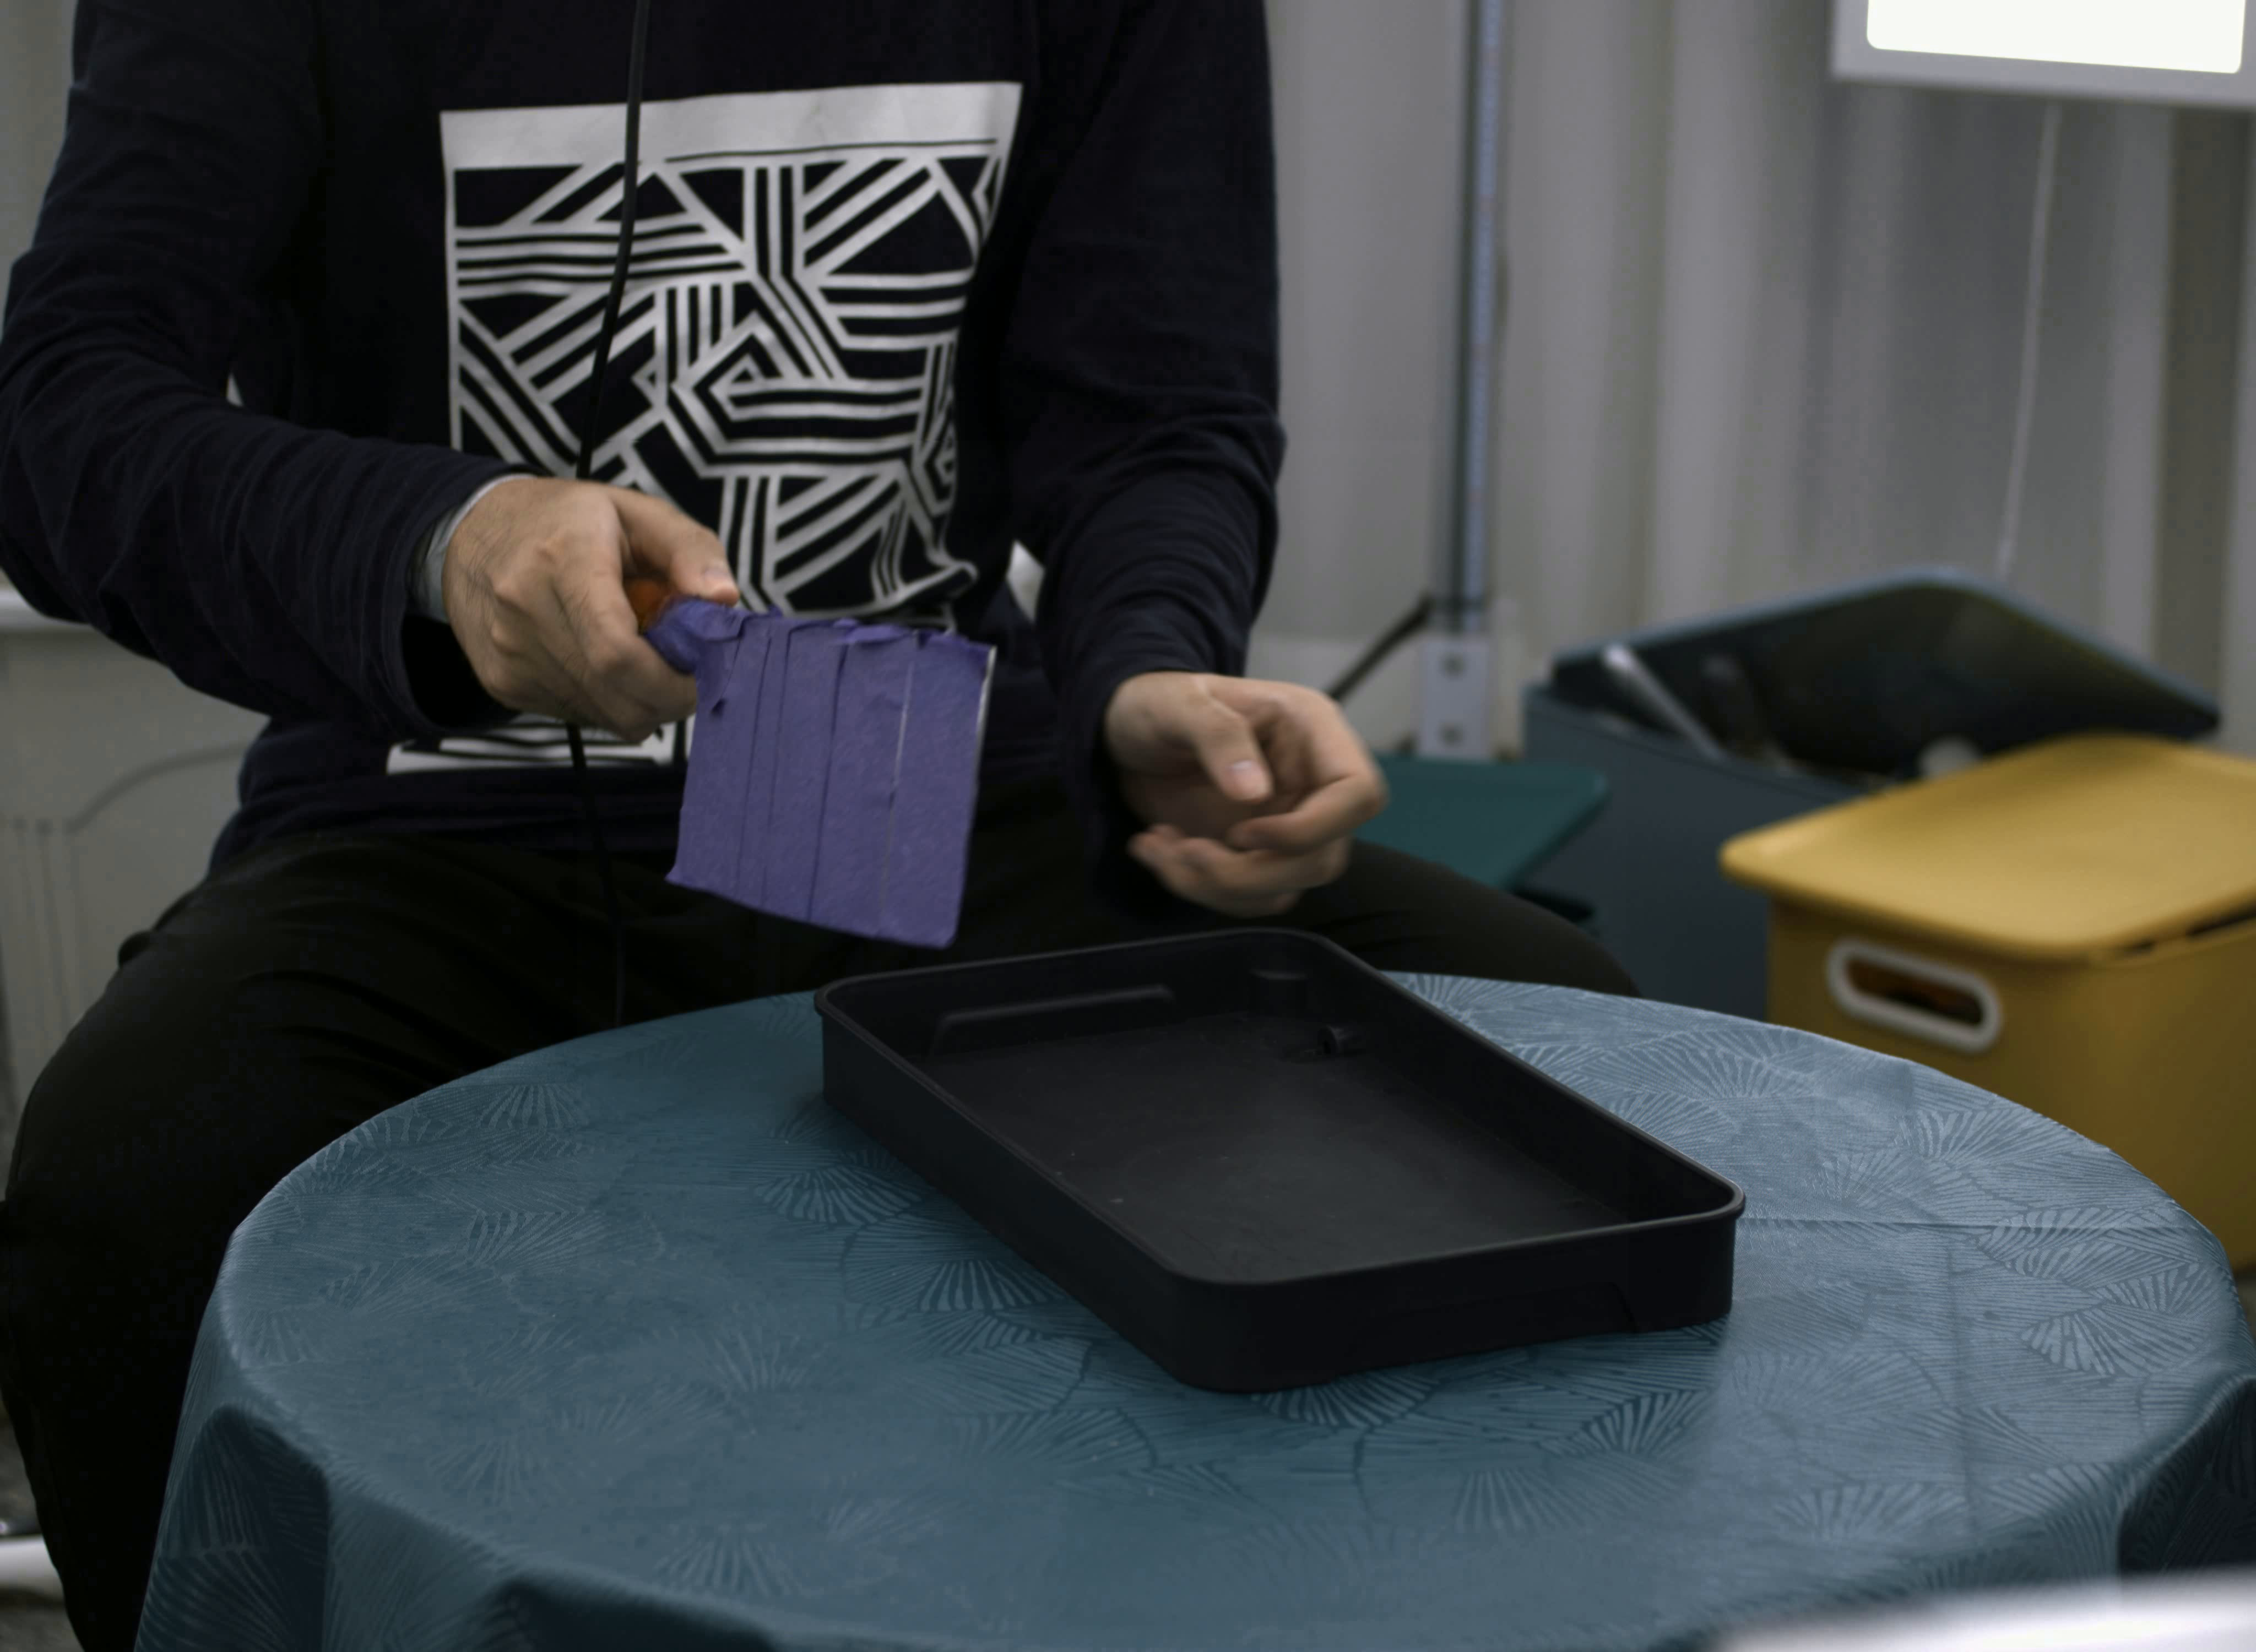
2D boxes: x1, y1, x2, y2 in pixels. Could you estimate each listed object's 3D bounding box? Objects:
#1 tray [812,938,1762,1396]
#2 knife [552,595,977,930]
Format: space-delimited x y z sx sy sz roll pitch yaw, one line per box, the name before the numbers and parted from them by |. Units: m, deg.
tray | 0.041 0.098 1.615 0.185 0.037 0.314 -7 16 -25
knife | -0.119 -0.023 1.618 0.032 0.104 0.312 8 0 -25
